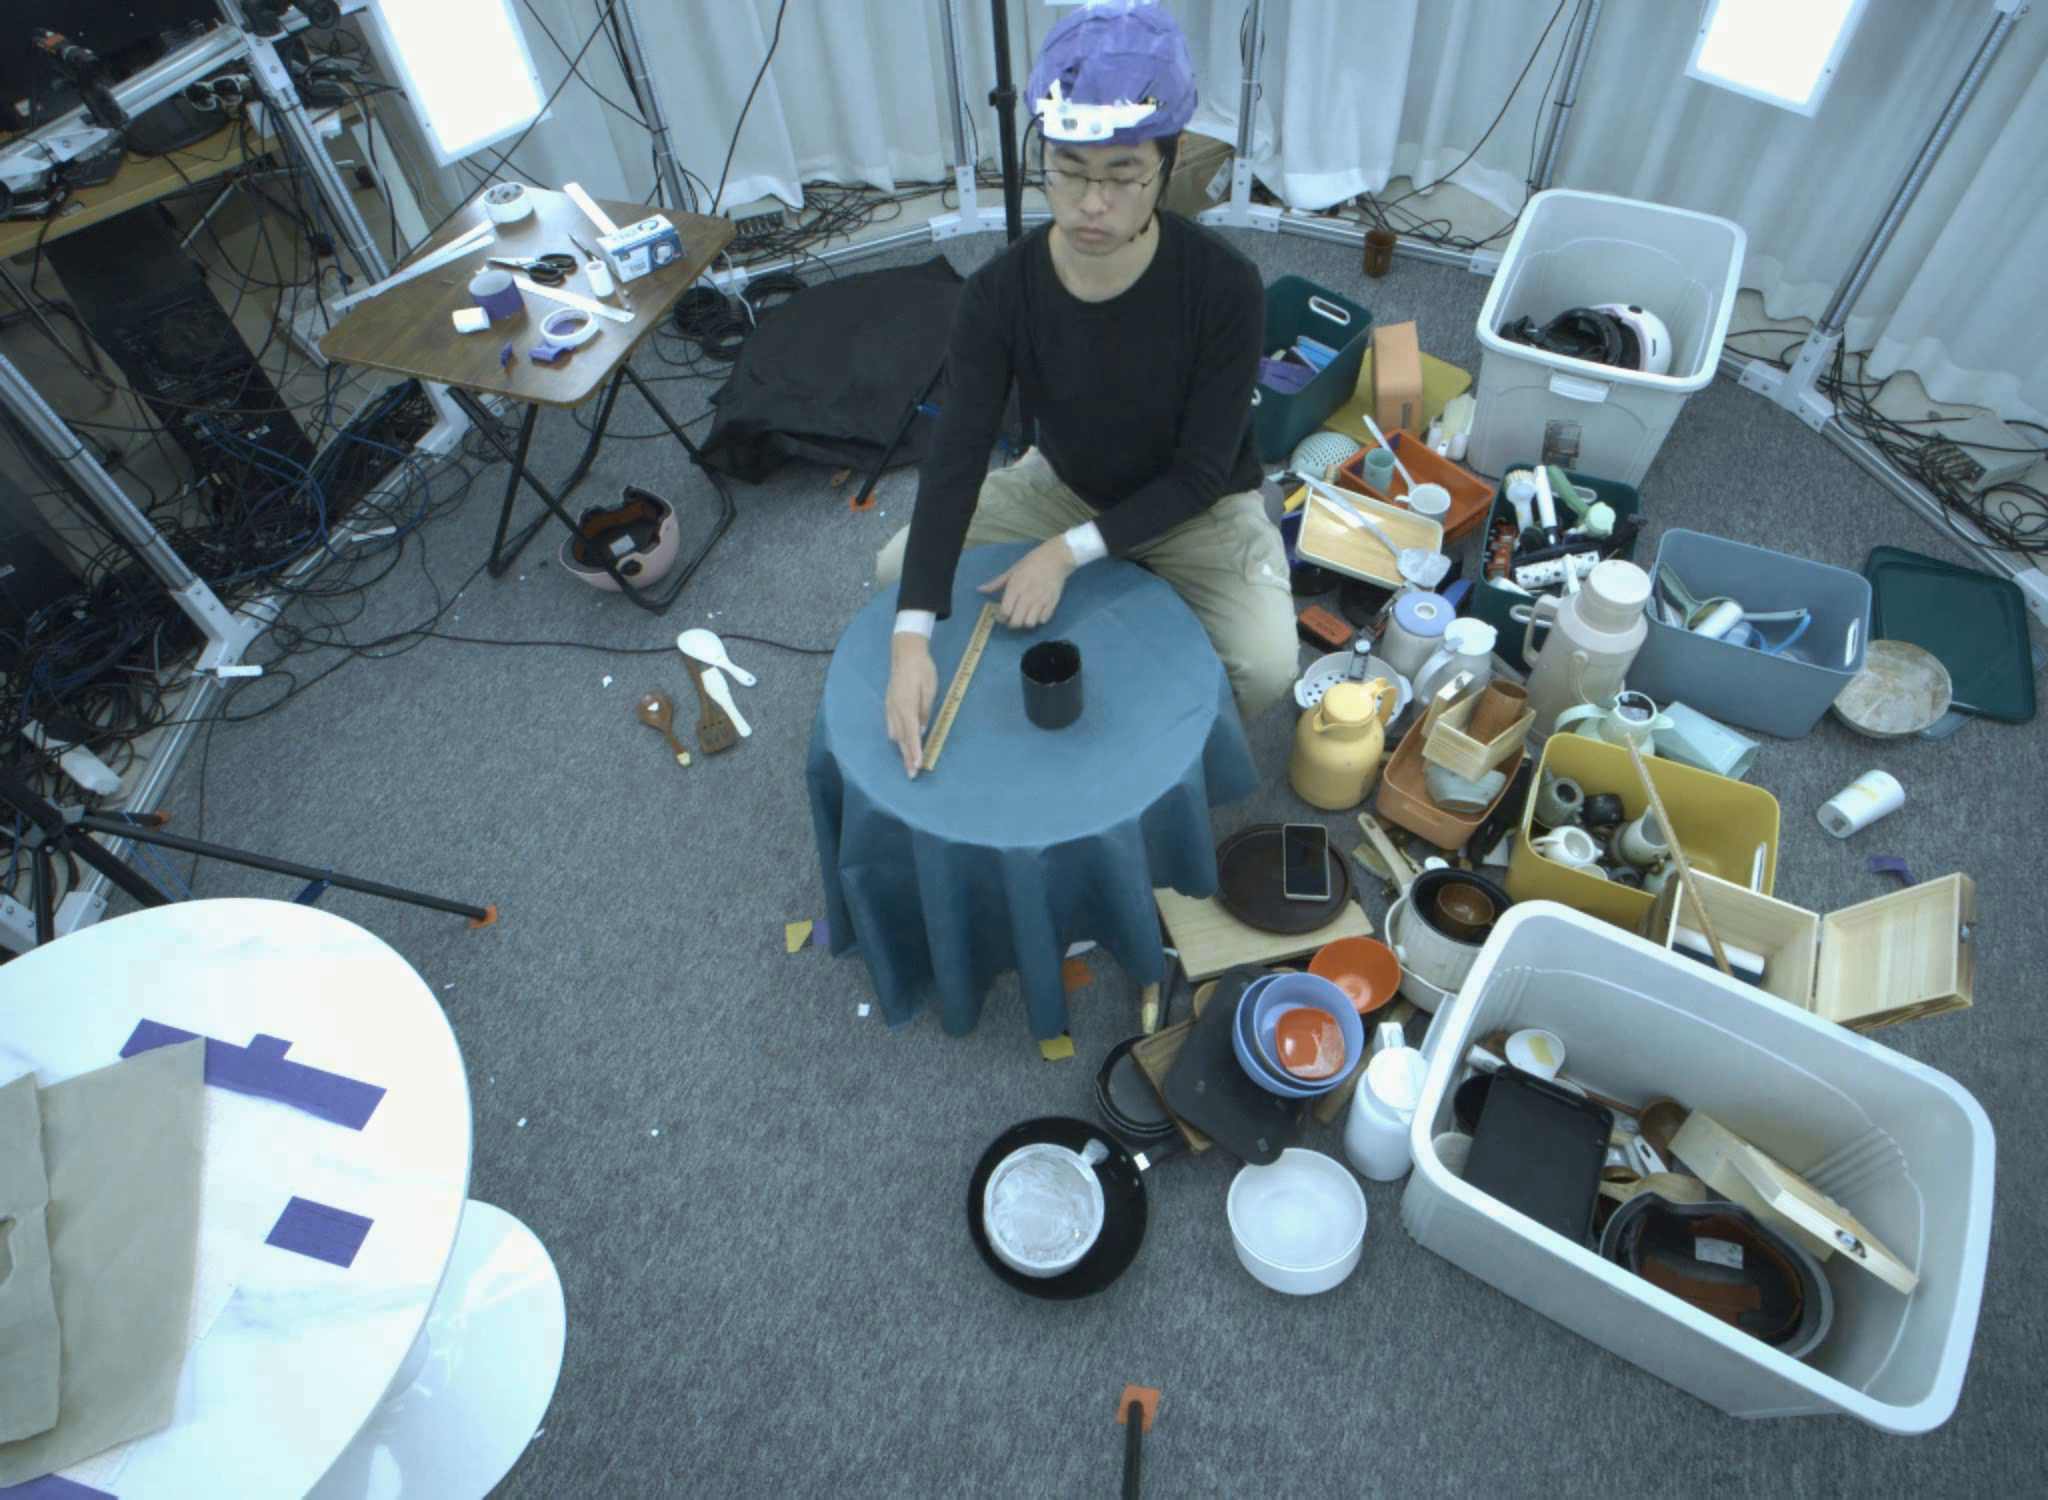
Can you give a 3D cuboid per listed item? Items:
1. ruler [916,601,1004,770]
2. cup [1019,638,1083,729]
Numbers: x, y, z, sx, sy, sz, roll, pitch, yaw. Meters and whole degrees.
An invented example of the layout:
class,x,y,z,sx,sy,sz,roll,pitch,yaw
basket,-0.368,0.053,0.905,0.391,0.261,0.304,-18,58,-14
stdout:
class,x,y,z,sx,sy,sz,roll,pitch,yaw
ruler,-0.095,-0.106,1.861,0.027,0.022,0.331,16,57,9
cup,0.046,-0.109,1.801,0.088,0.106,0.123,13,56,14
